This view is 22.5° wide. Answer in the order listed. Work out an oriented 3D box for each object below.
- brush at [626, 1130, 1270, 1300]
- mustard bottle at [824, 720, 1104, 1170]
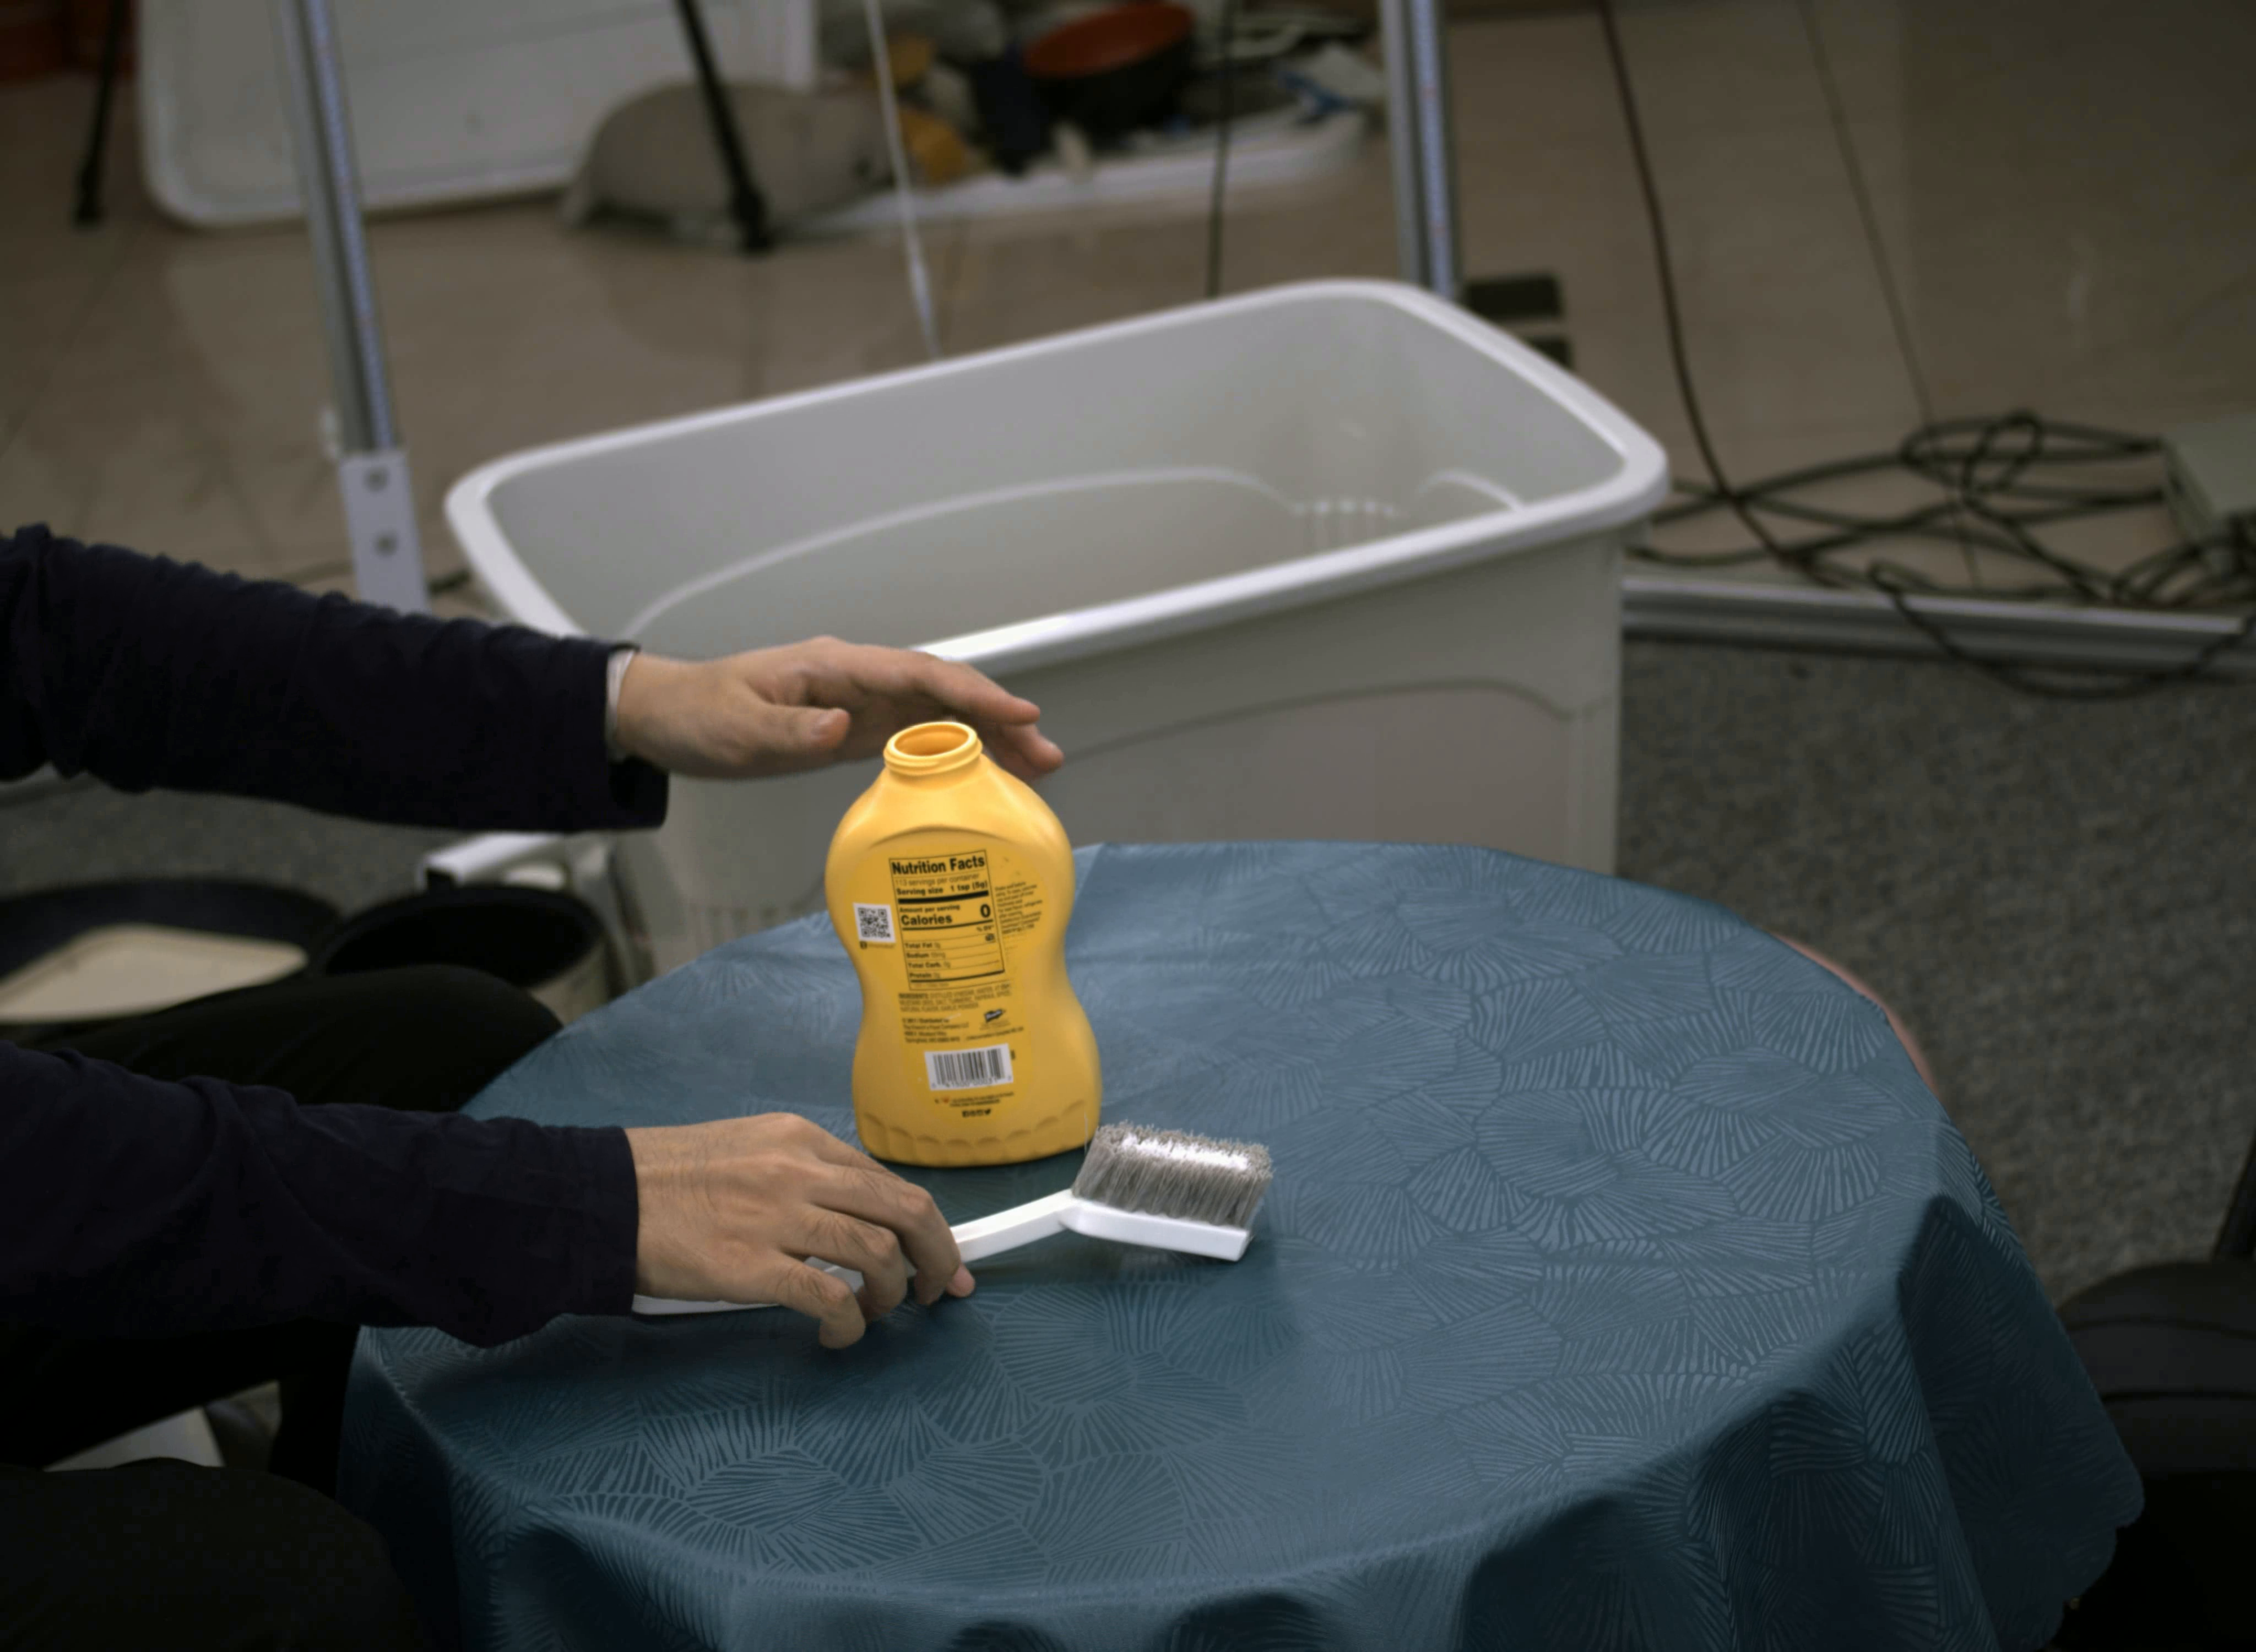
[{"bbox_3d":[-0.068,0.144,2.098,0.243,0.051,0.034,-4,29,4],"label":"brush"},{"bbox_3d":[-0.066,0.044,2.162,0.098,0.174,0.058,-7,23,3],"label":"mustard bottle"}]
